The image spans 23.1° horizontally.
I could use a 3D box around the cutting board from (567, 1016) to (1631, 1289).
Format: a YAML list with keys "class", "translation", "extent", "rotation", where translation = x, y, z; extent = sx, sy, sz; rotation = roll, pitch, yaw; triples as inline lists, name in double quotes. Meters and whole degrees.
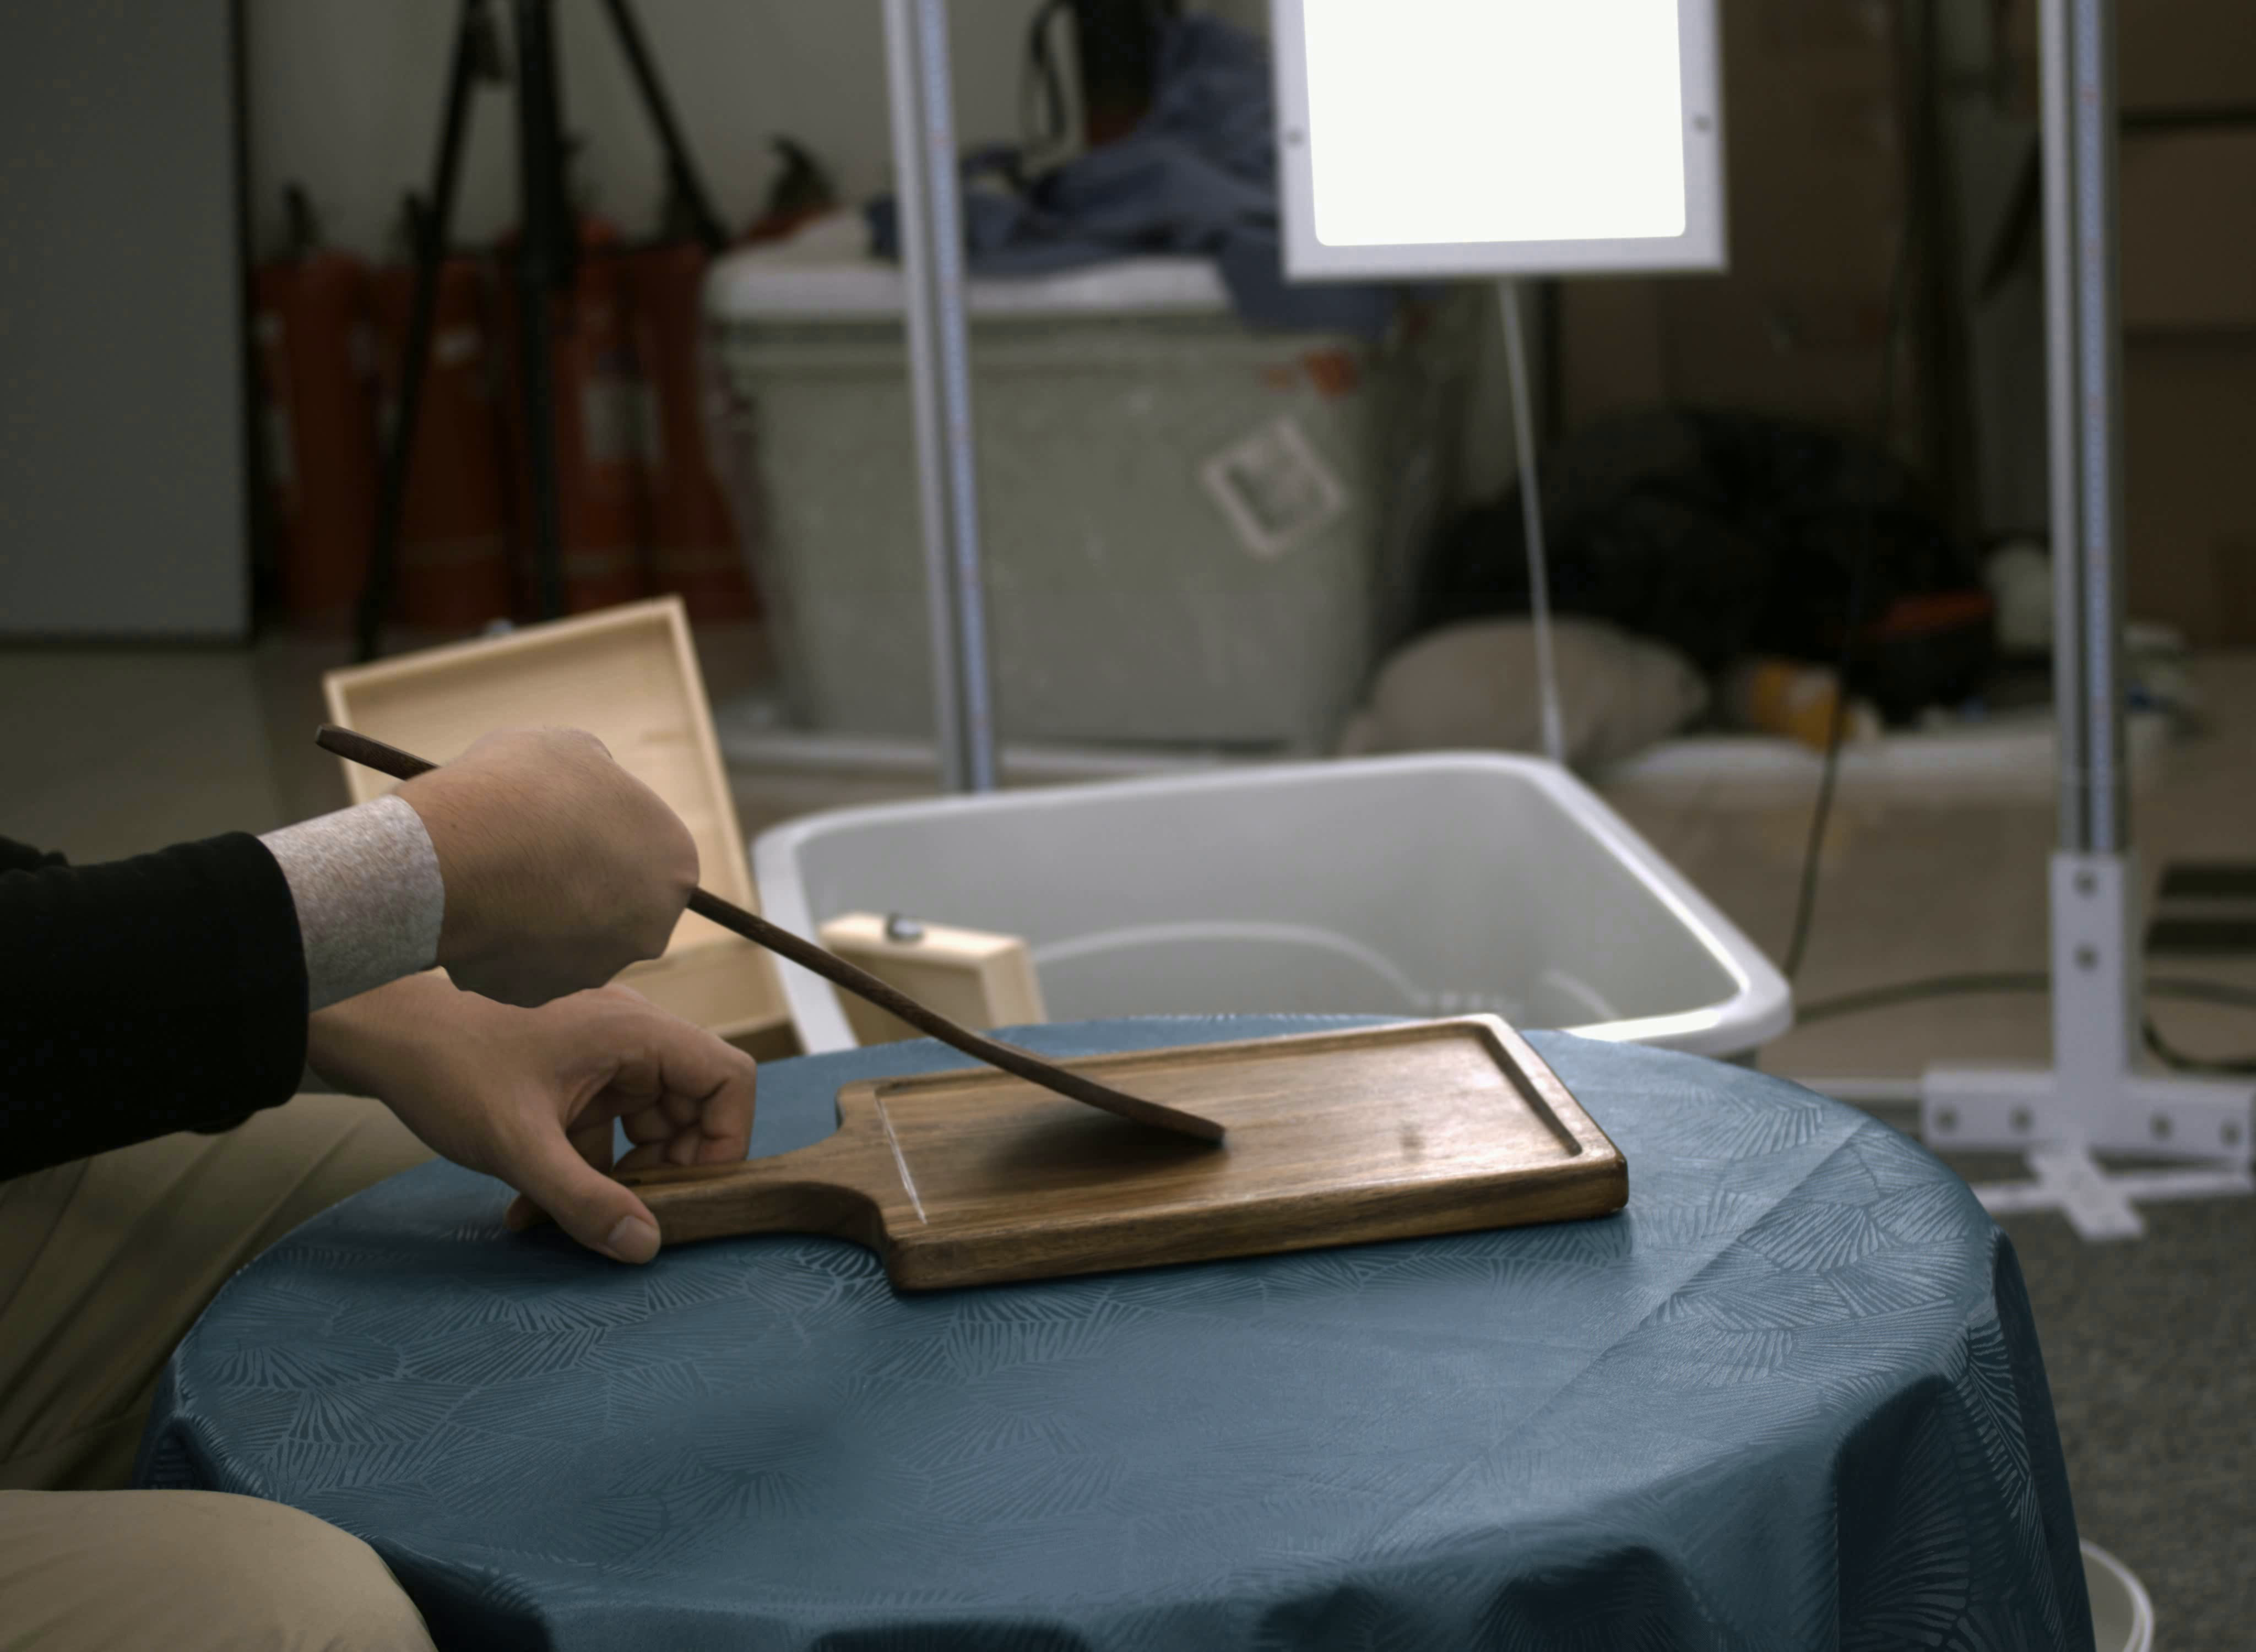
- class: "cutting board"
  translation: [-0.018, 0.115, 1.901]
  extent: [0.349, 0.023, 0.202]
  rotation: [-6, 13, -6]

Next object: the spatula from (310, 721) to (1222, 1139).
- class: "spatula"
  translation: [-0.117, 0.036, 1.803]
  extent: [0.378, 0.016, 0.098]
  rotation: [28, -7, -40]
